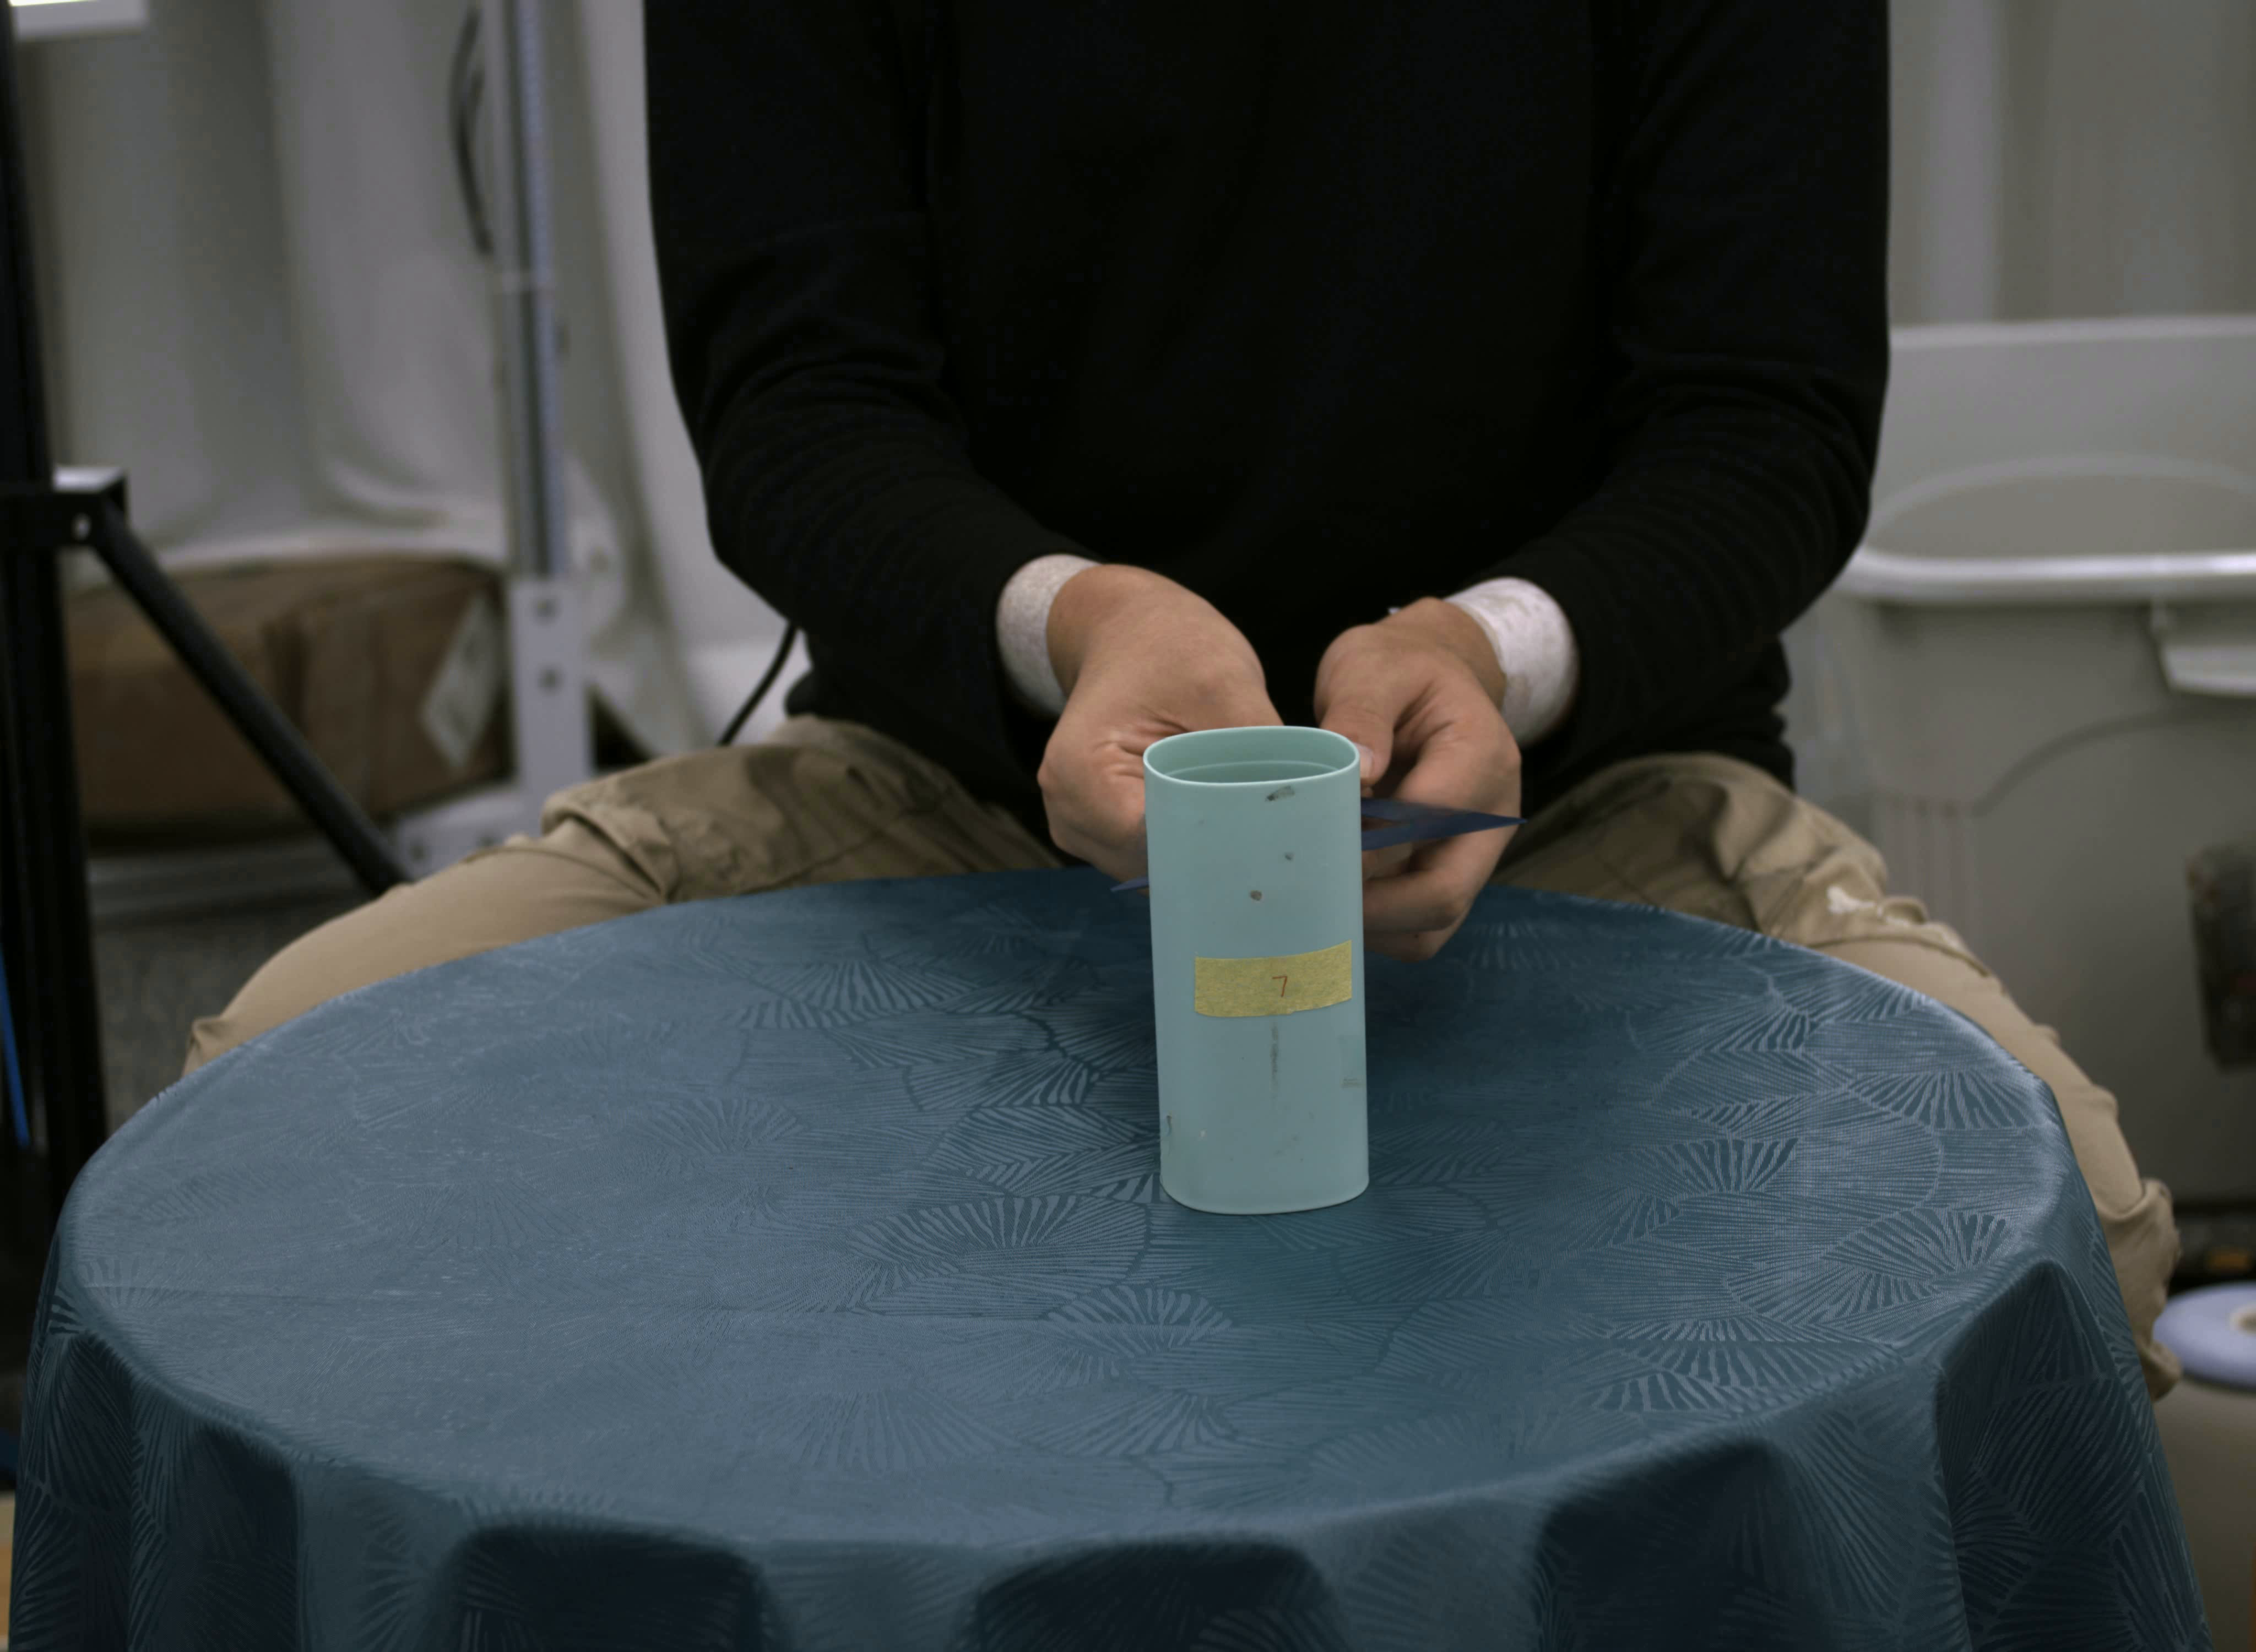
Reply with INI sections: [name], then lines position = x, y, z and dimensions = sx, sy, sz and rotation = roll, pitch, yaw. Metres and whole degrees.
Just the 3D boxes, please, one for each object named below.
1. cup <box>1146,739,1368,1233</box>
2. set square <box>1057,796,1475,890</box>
[cup]
position = 0.038, 0.045, 1.547
dimensions = 0.066, 0.132, 0.067
rotation = -3, 16, -1
[set square]
position = 0.035, 0.002, 1.613
dimensions = 0.130, 0.006, 0.062
rotation = -9, 17, -16
